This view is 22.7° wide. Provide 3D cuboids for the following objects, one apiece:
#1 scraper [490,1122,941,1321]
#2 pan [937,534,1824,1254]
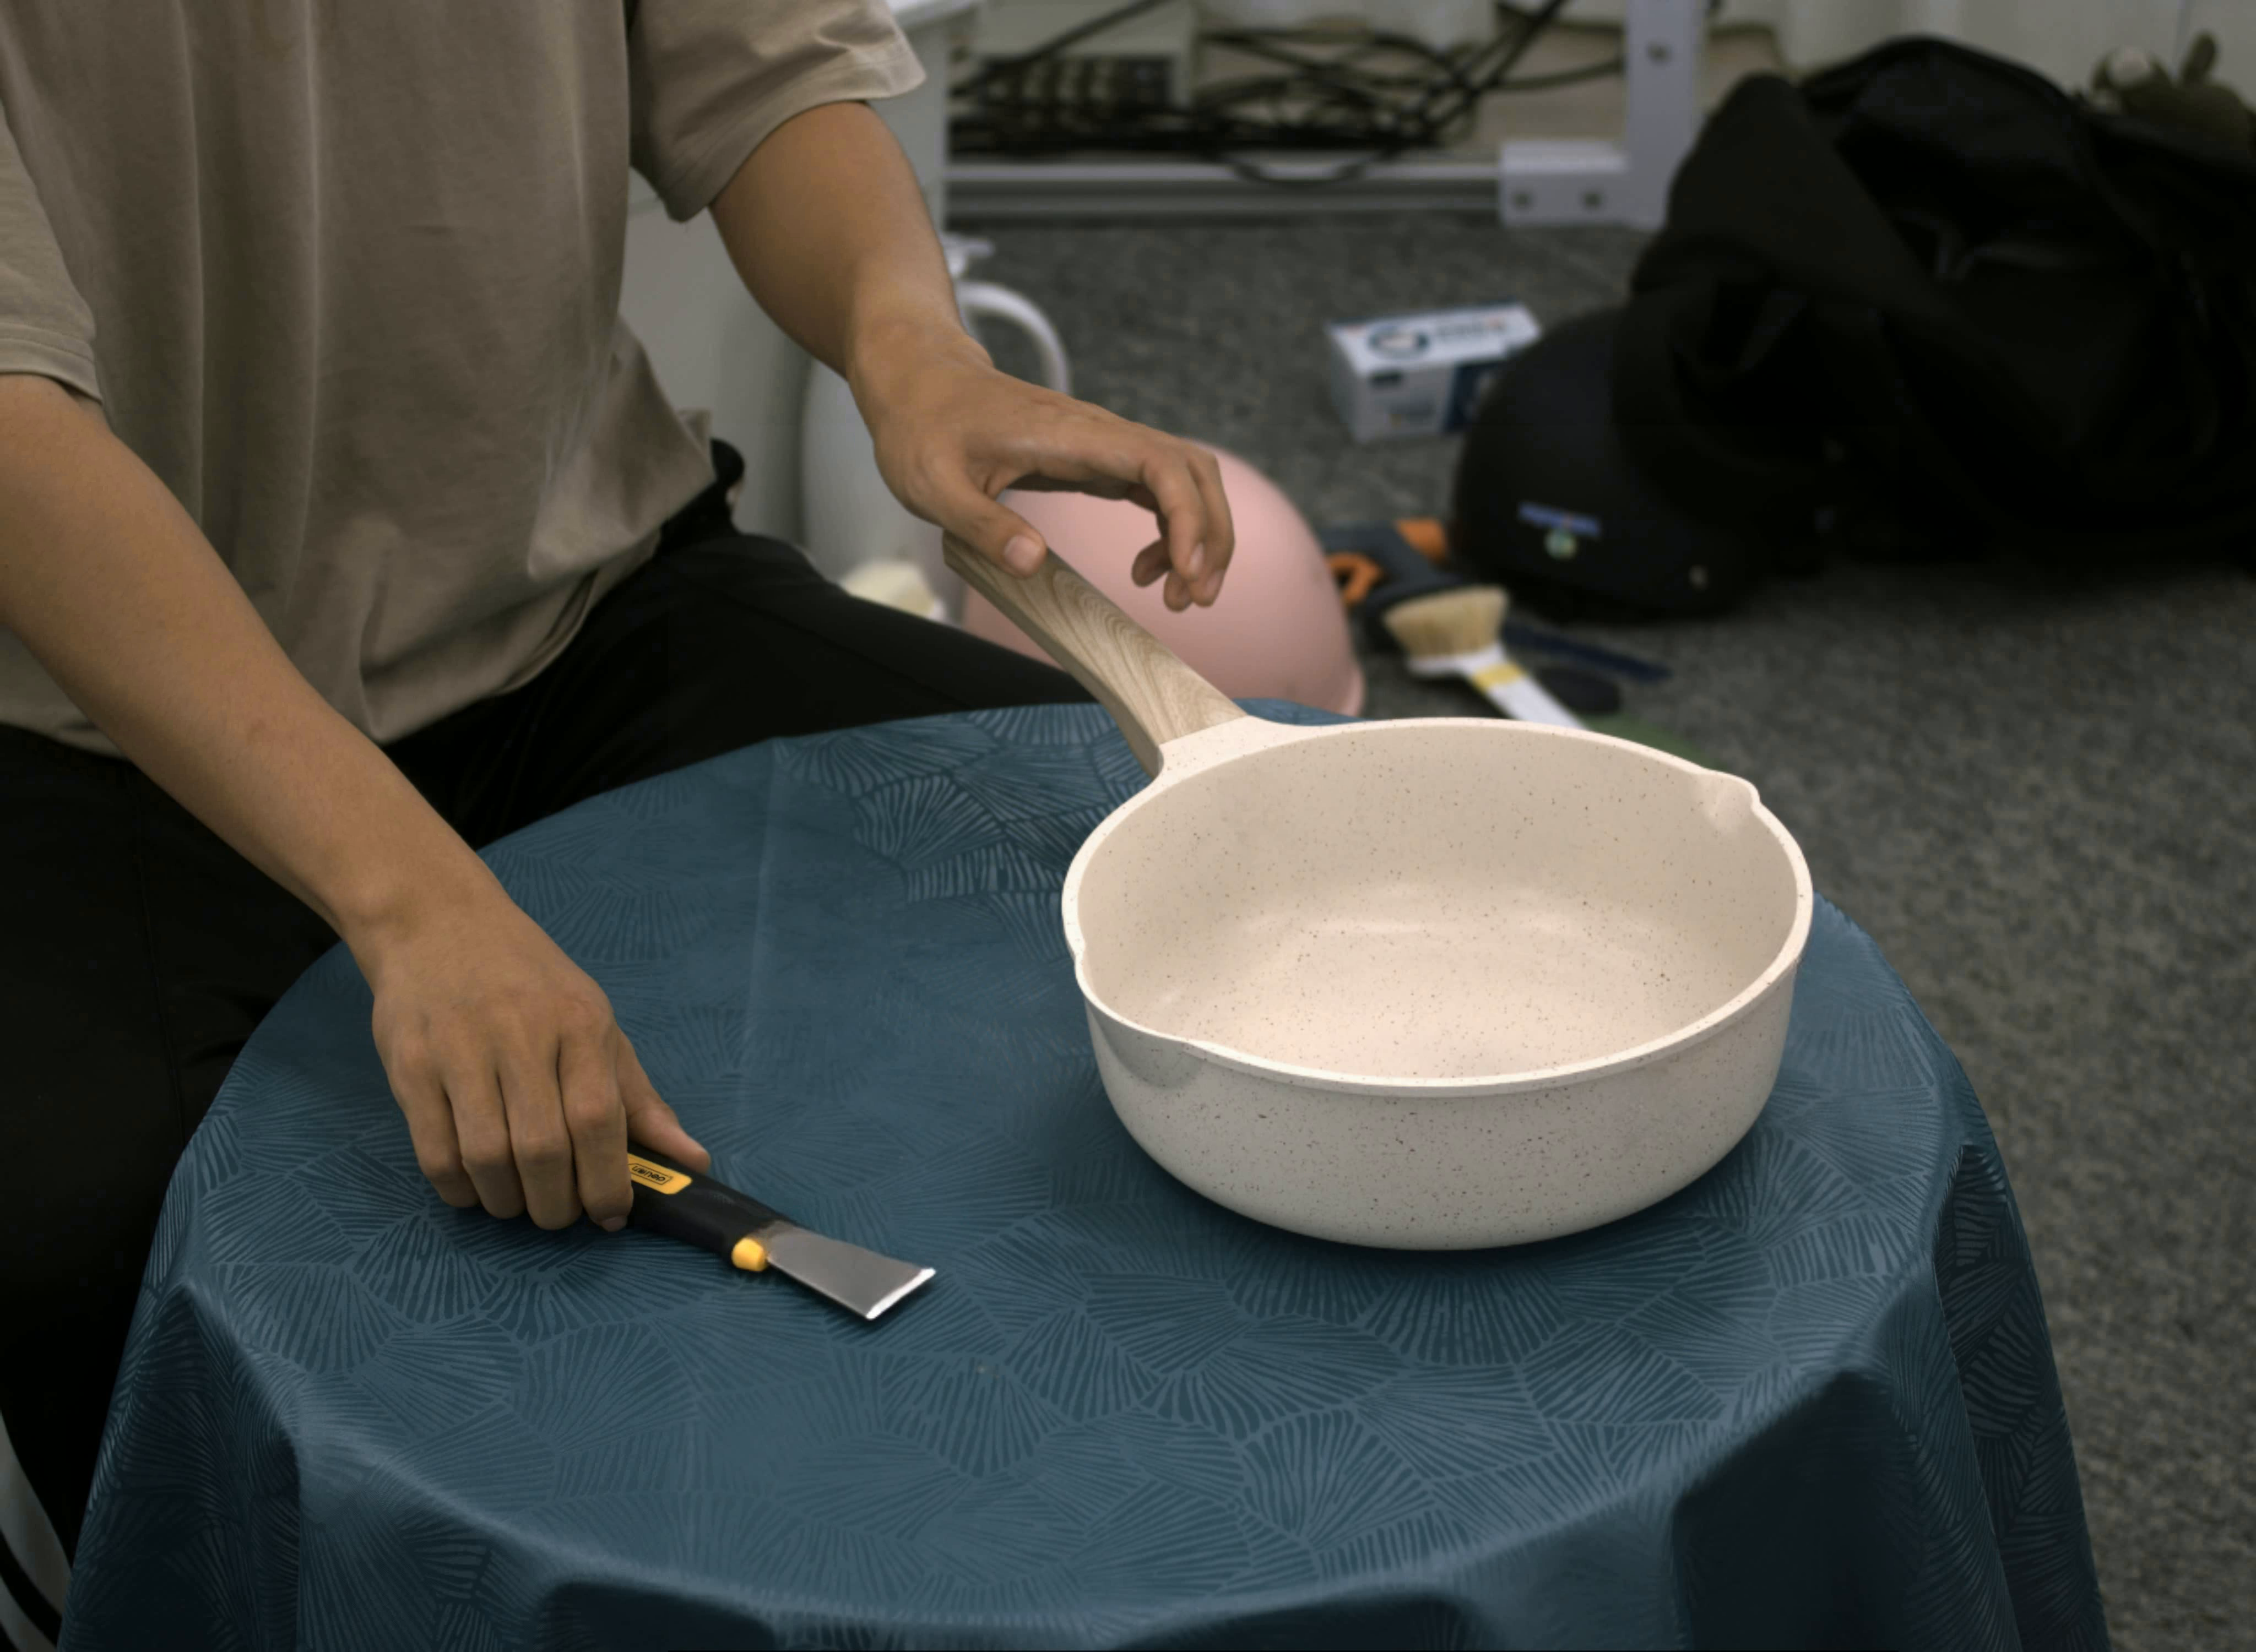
[{"bbox_3d":[-0.140,0.129,1.842,0.170,0.015,0.039,17,37,30],"label":"scraper"},{"bbox_3d":[0.060,0.016,1.961,0.265,0.101,0.436,-21,32,-26],"label":"pan"}]
